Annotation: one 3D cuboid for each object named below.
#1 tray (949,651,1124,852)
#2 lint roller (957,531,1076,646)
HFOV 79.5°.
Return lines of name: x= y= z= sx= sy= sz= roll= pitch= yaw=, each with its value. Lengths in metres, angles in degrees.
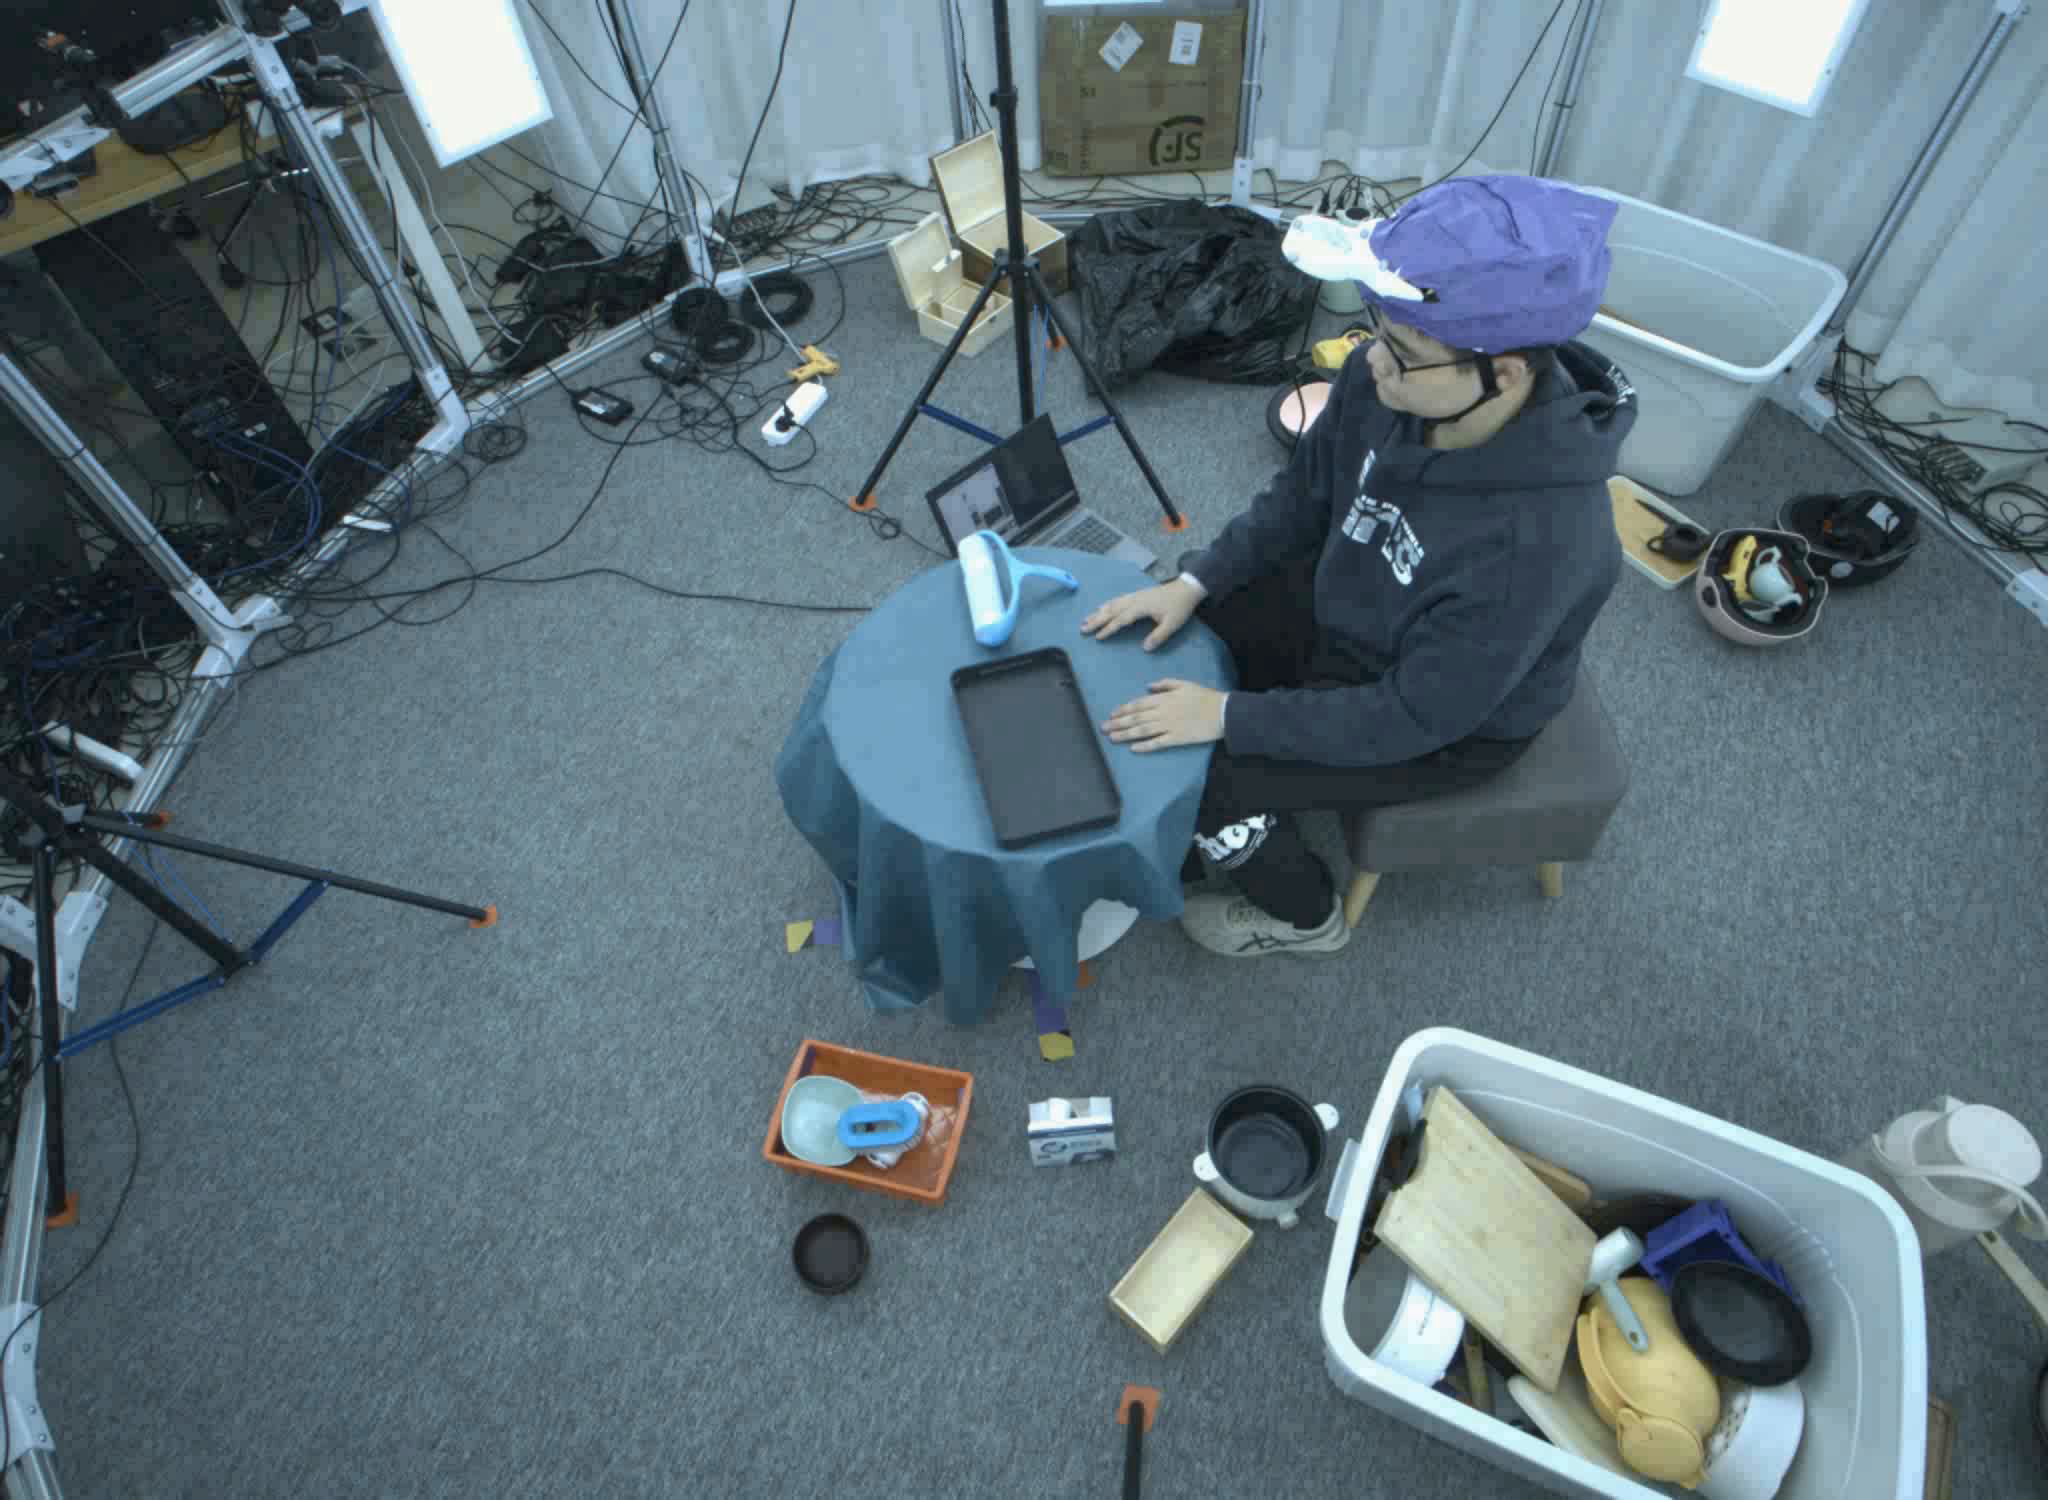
tray: x=0.013 y=-0.004 z=1.772 sx=0.185 sy=0.037 sz=0.312 roll=-14 pitch=53 yaw=-8
lint roller: x=-0.009 y=-0.267 z=1.939 sx=0.181 sy=0.069 sz=0.225 roll=-12 pitch=53 yaw=-5
